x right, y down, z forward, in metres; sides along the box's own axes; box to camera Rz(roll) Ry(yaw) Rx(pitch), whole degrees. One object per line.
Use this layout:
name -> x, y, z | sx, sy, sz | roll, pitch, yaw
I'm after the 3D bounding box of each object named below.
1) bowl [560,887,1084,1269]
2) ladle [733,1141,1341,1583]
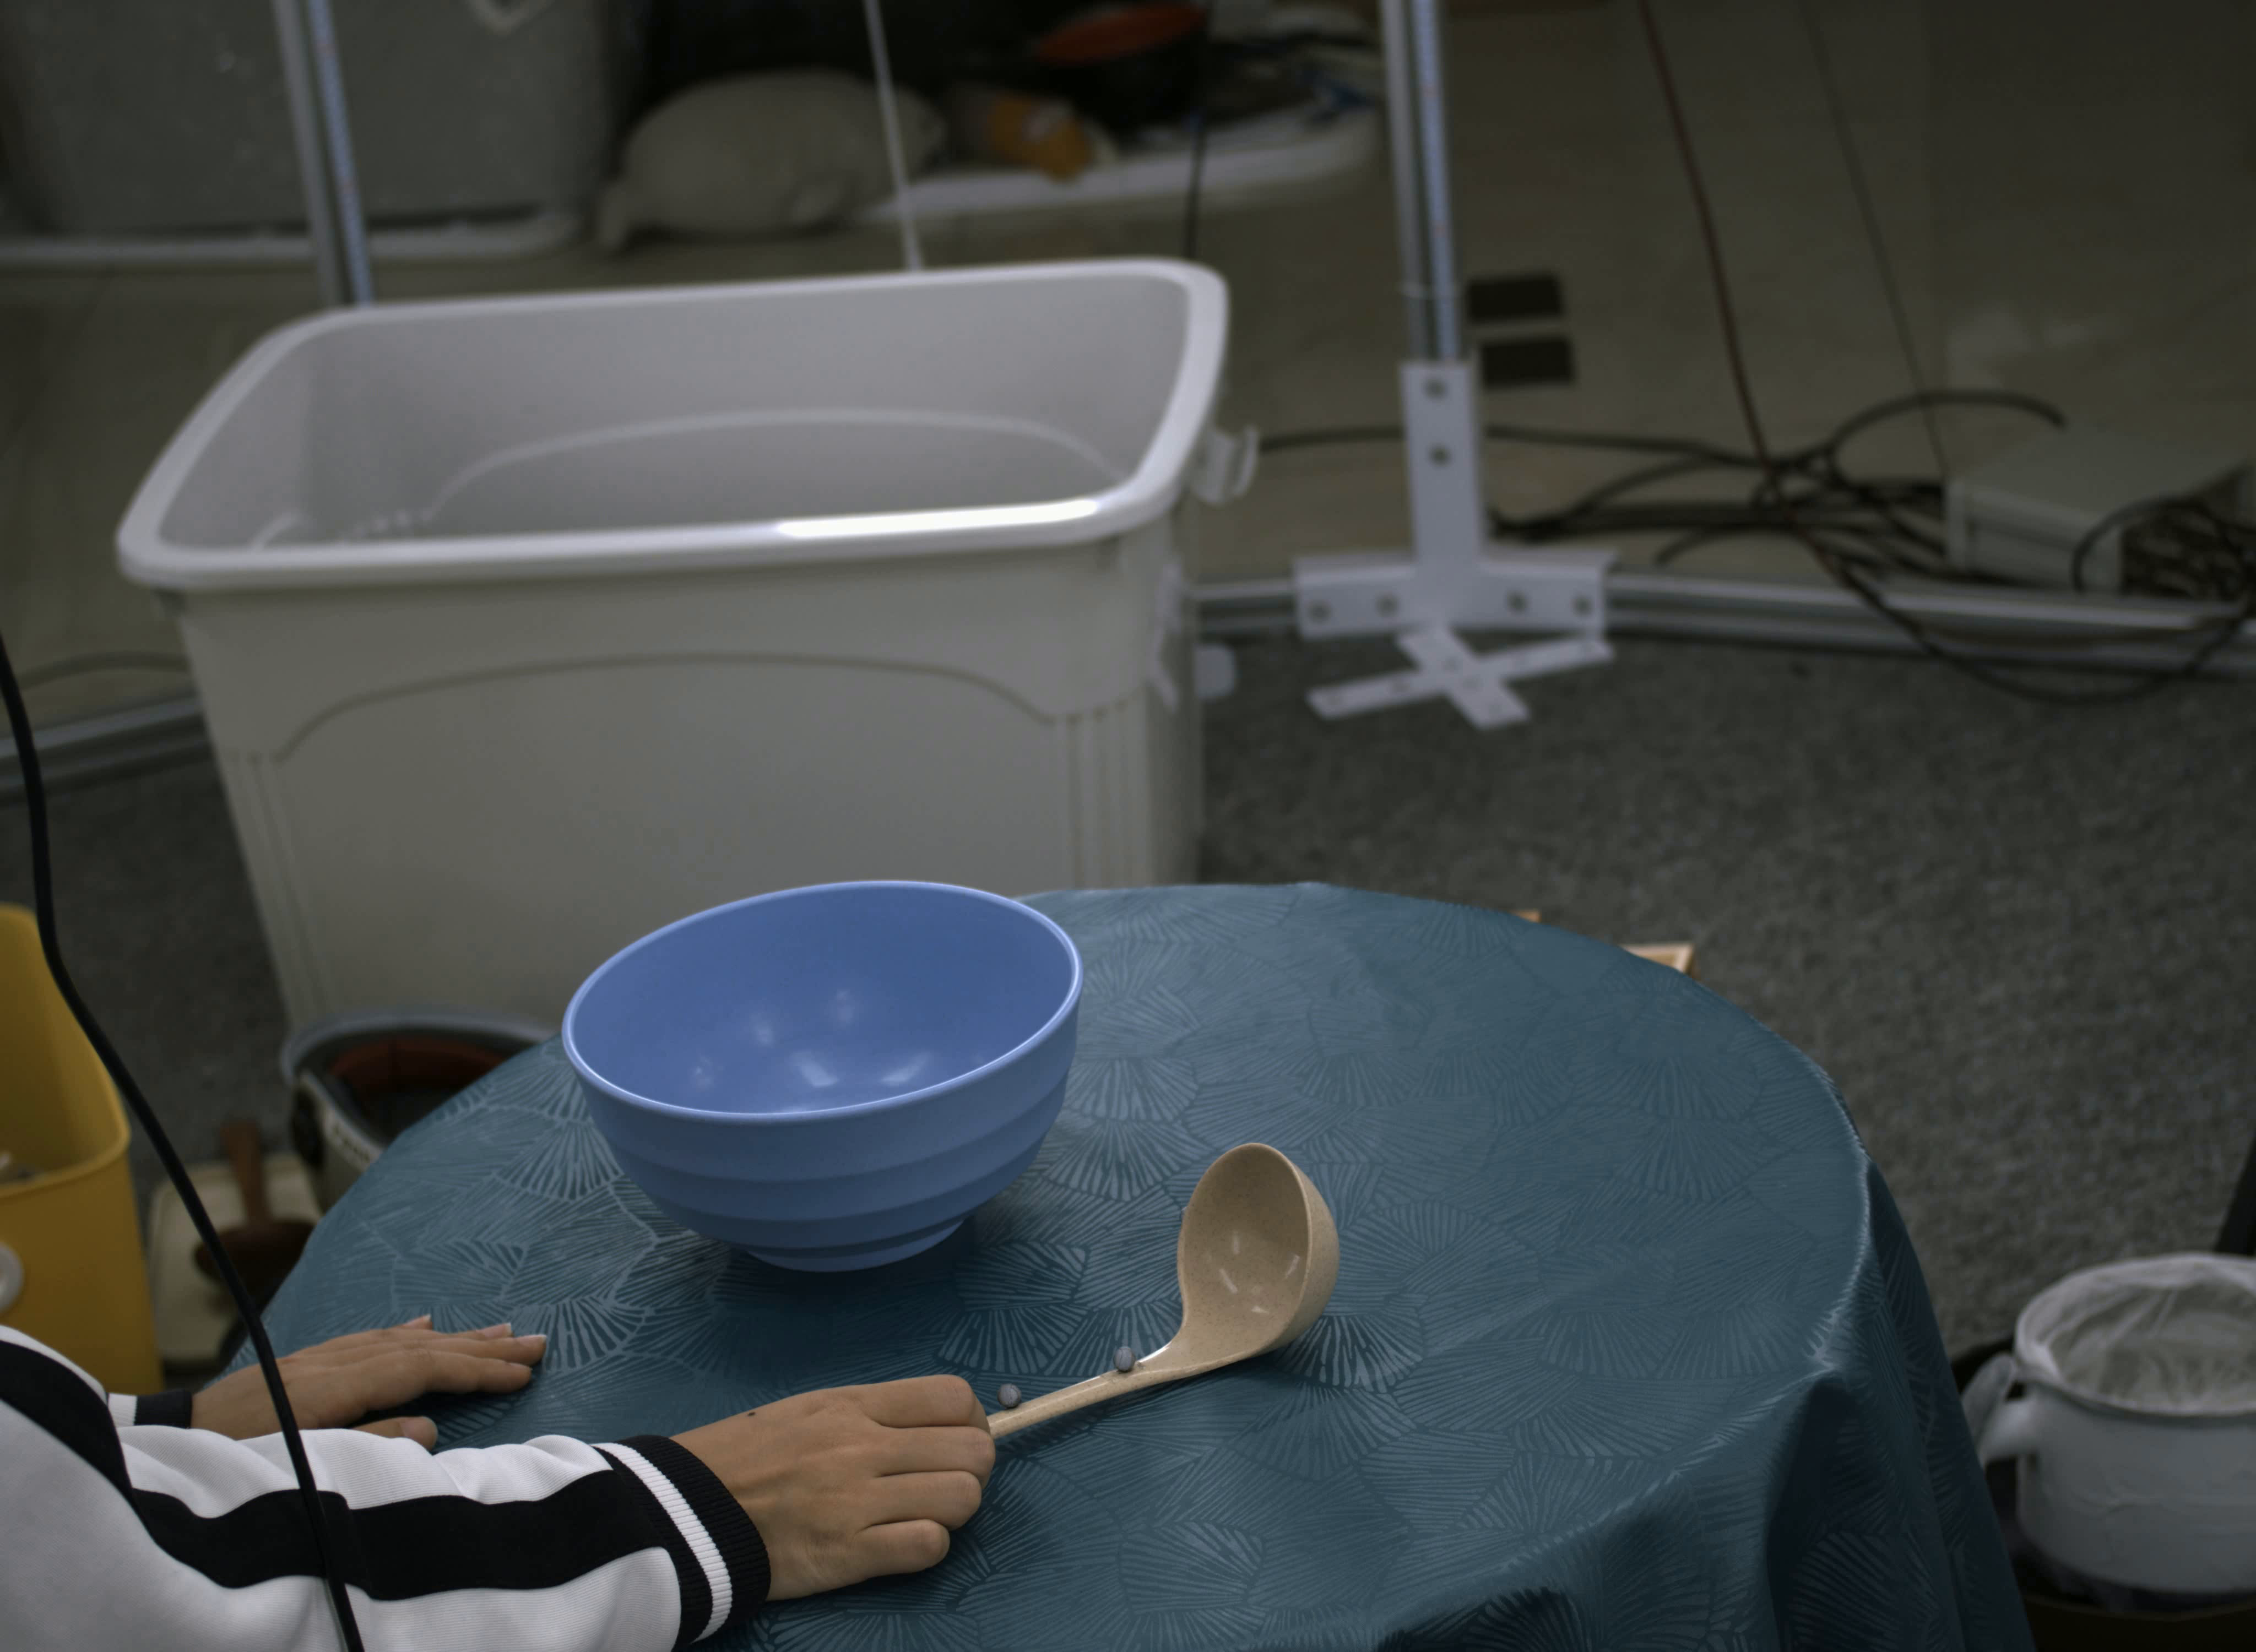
bowl -> -0.111, 0.104, 2.134 | 0.196, 0.097, 0.194 | -4, 23, 2
ladle -> -0.035, 0.182, 1.973 | 0.253, 0.074, 0.071 | -22, 31, -31
